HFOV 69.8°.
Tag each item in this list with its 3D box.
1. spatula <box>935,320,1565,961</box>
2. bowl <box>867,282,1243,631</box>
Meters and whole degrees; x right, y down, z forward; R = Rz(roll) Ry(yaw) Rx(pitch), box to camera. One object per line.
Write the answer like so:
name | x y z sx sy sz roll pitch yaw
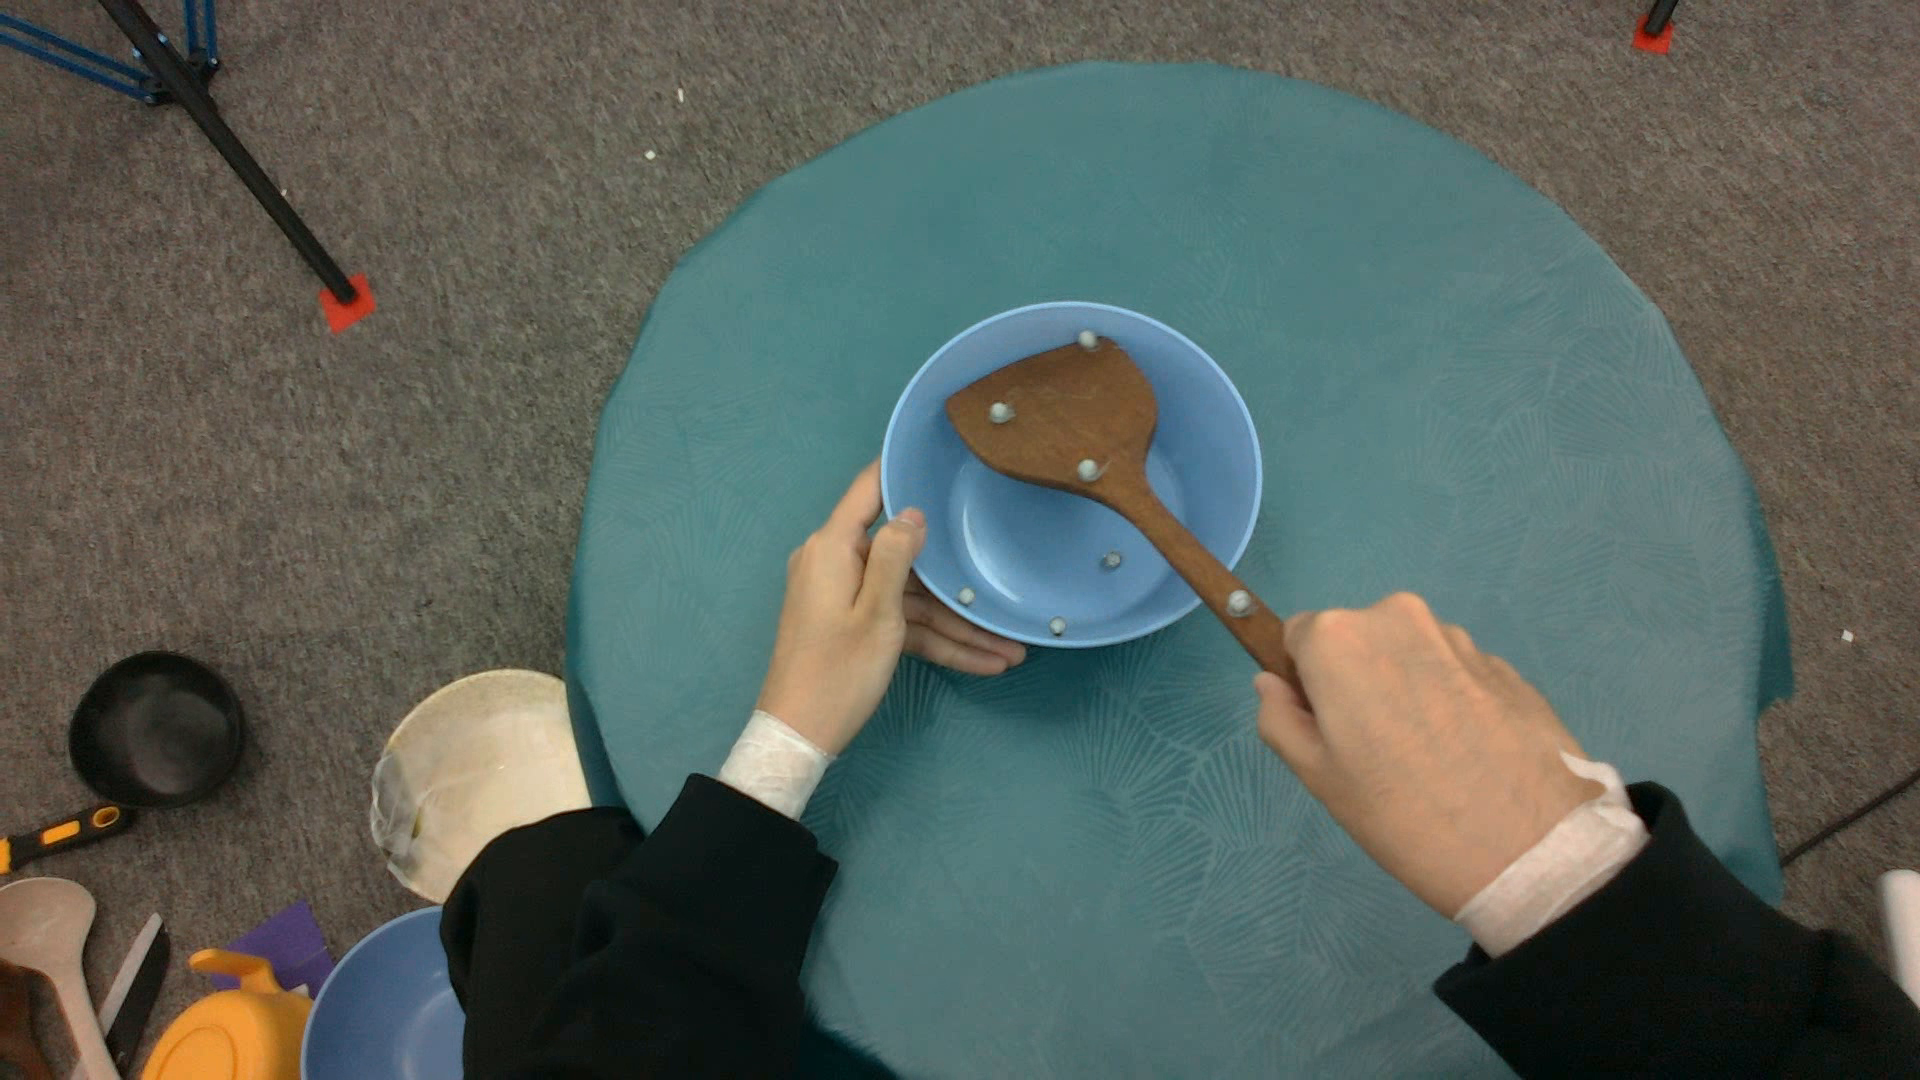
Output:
spatula | 0.096 0.011 0.536 0.096 0.016 0.387 -23 40 -10
bowl | 0.045 -0.032 0.668 0.176 0.070 0.176 -1 70 2
